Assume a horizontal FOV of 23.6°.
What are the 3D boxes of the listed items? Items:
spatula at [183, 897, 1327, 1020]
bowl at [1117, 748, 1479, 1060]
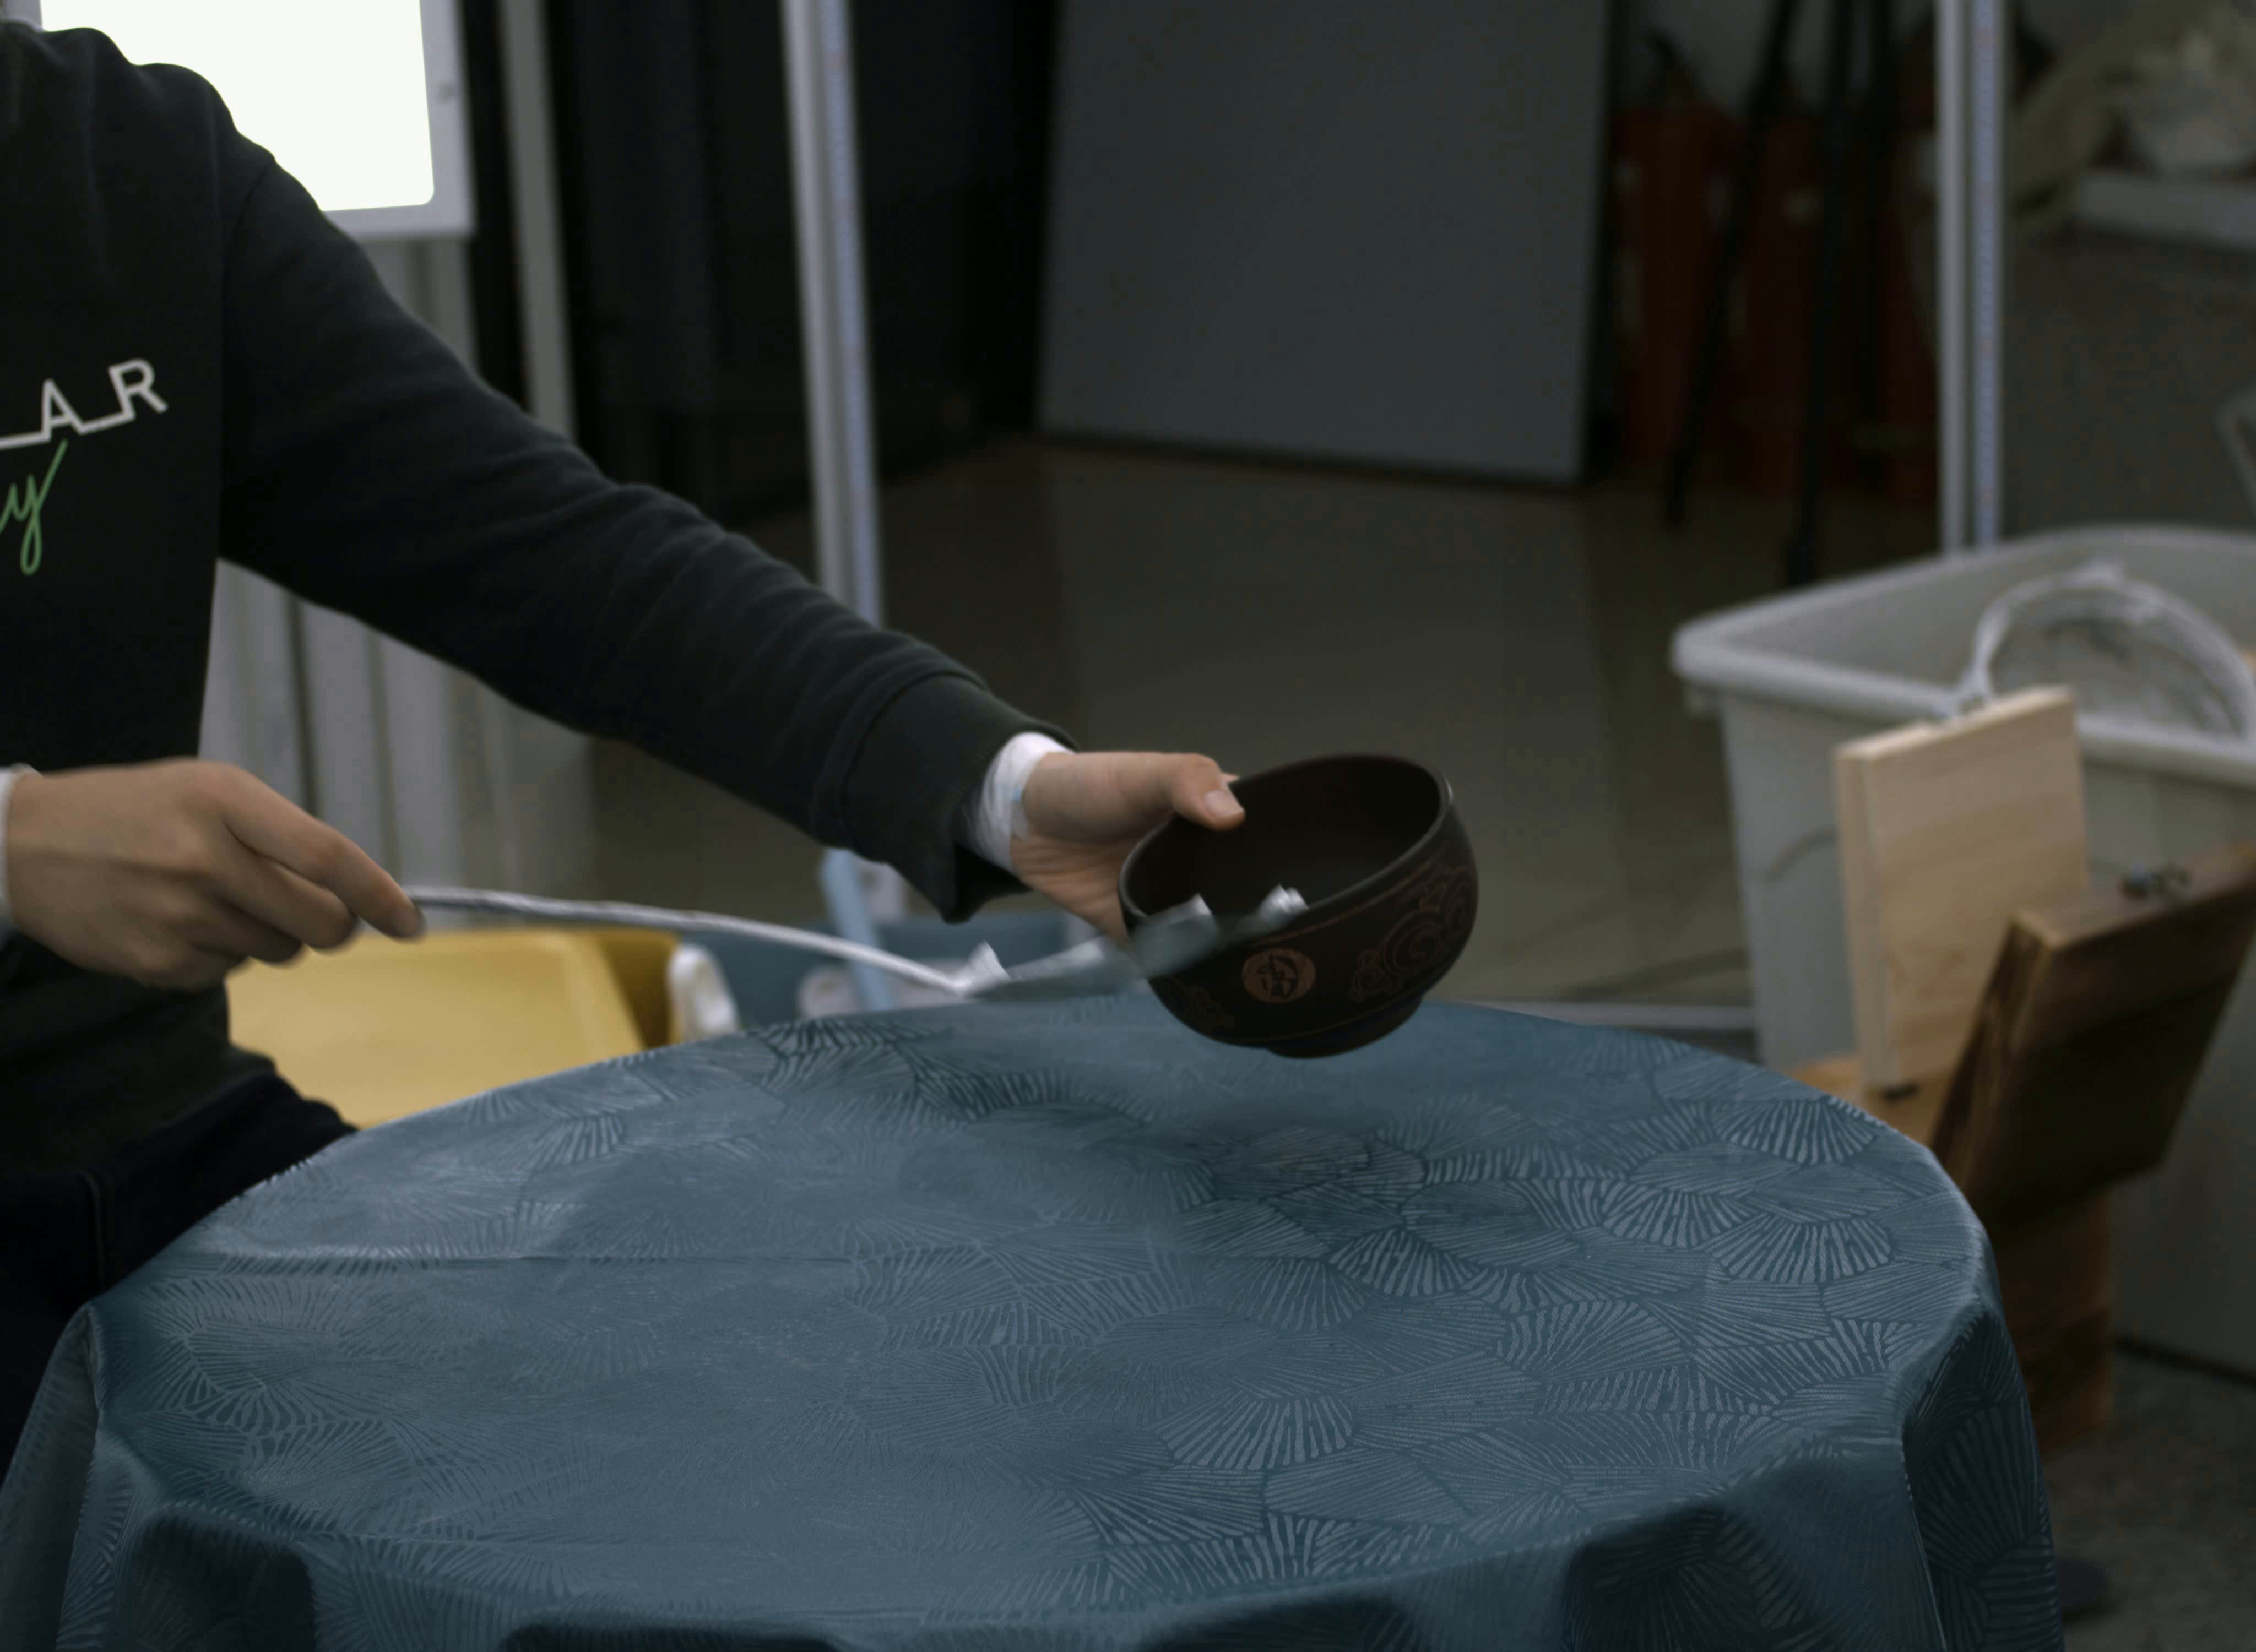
[{"bbox_3d":[-0.120,0.028,1.594,0.364,0.045,0.097,5,3,19],"label":"spatula"},{"bbox_3d":[0.060,0.032,1.762,0.117,0.070,0.118,-17,22,6],"label":"bowl"}]
